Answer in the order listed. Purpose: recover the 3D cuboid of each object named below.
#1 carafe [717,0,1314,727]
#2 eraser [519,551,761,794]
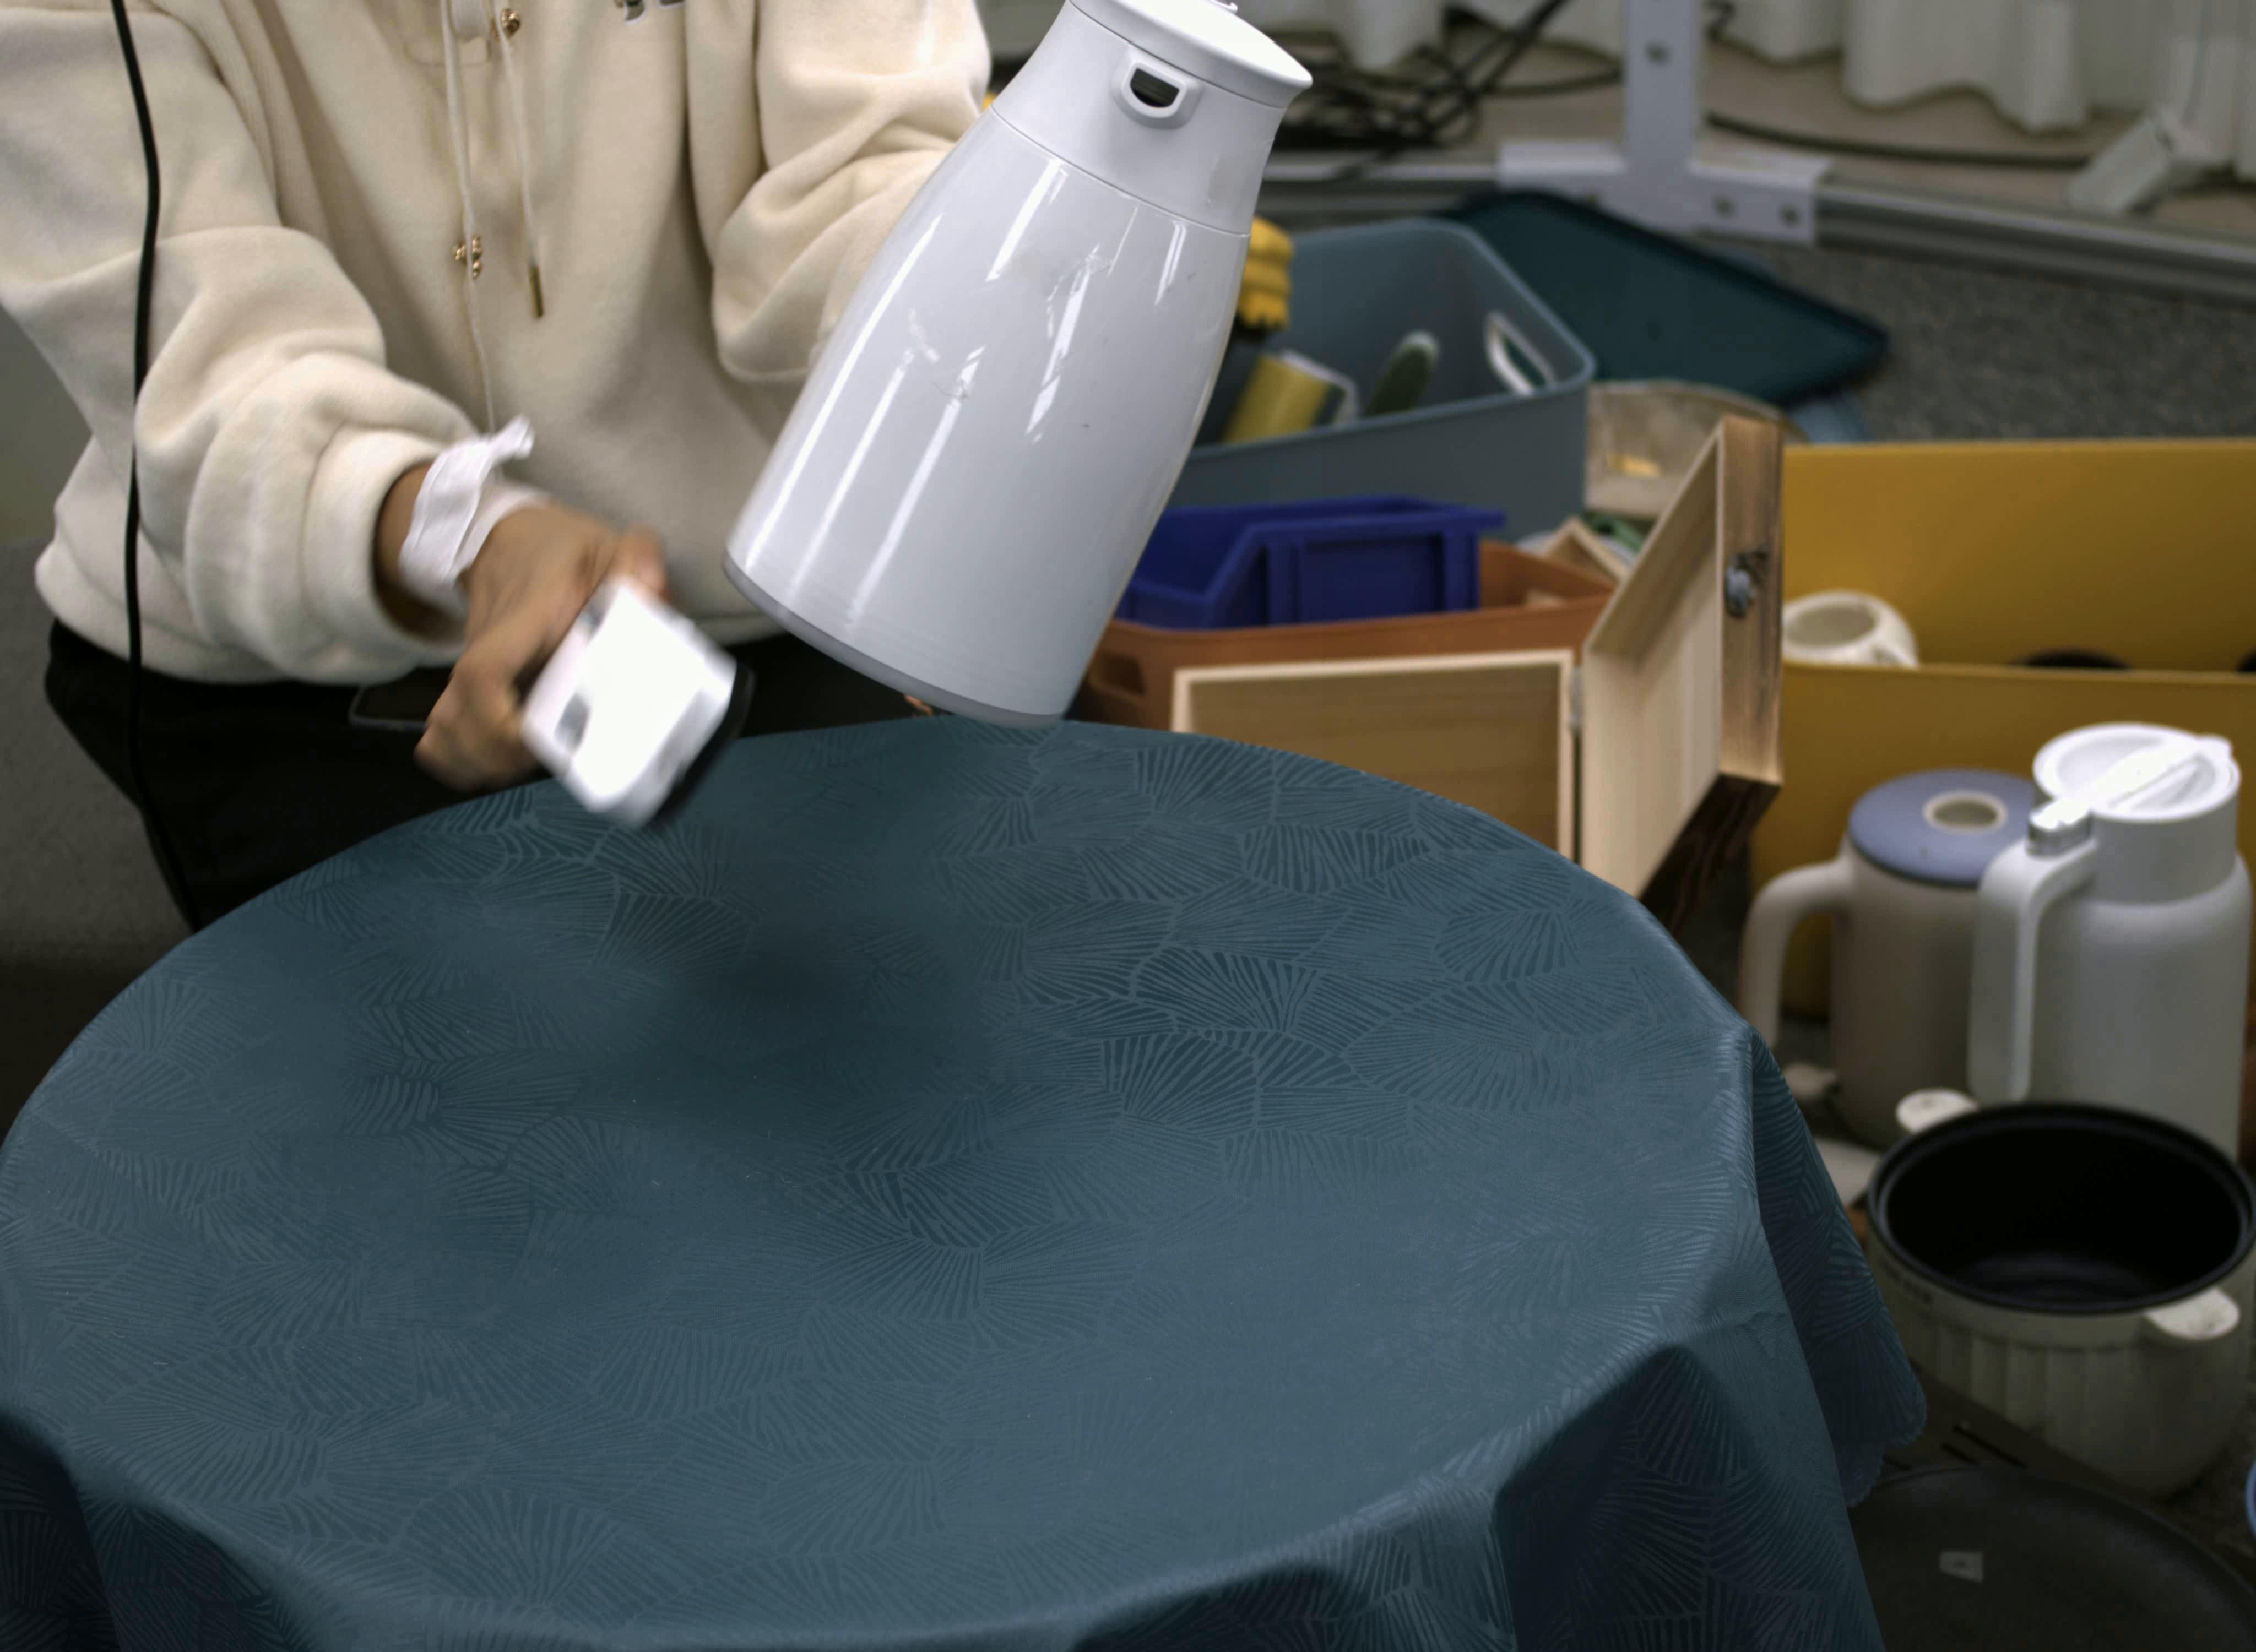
[{"bbox_3d":[-0.029,-0.178,1.956,0.132,0.247,0.169,26,11,-3],"label":"carafe"},{"bbox_3d":[-0.165,-0.053,1.887,0.063,0.034,0.131,-52,25,-2],"label":"eraser"}]
